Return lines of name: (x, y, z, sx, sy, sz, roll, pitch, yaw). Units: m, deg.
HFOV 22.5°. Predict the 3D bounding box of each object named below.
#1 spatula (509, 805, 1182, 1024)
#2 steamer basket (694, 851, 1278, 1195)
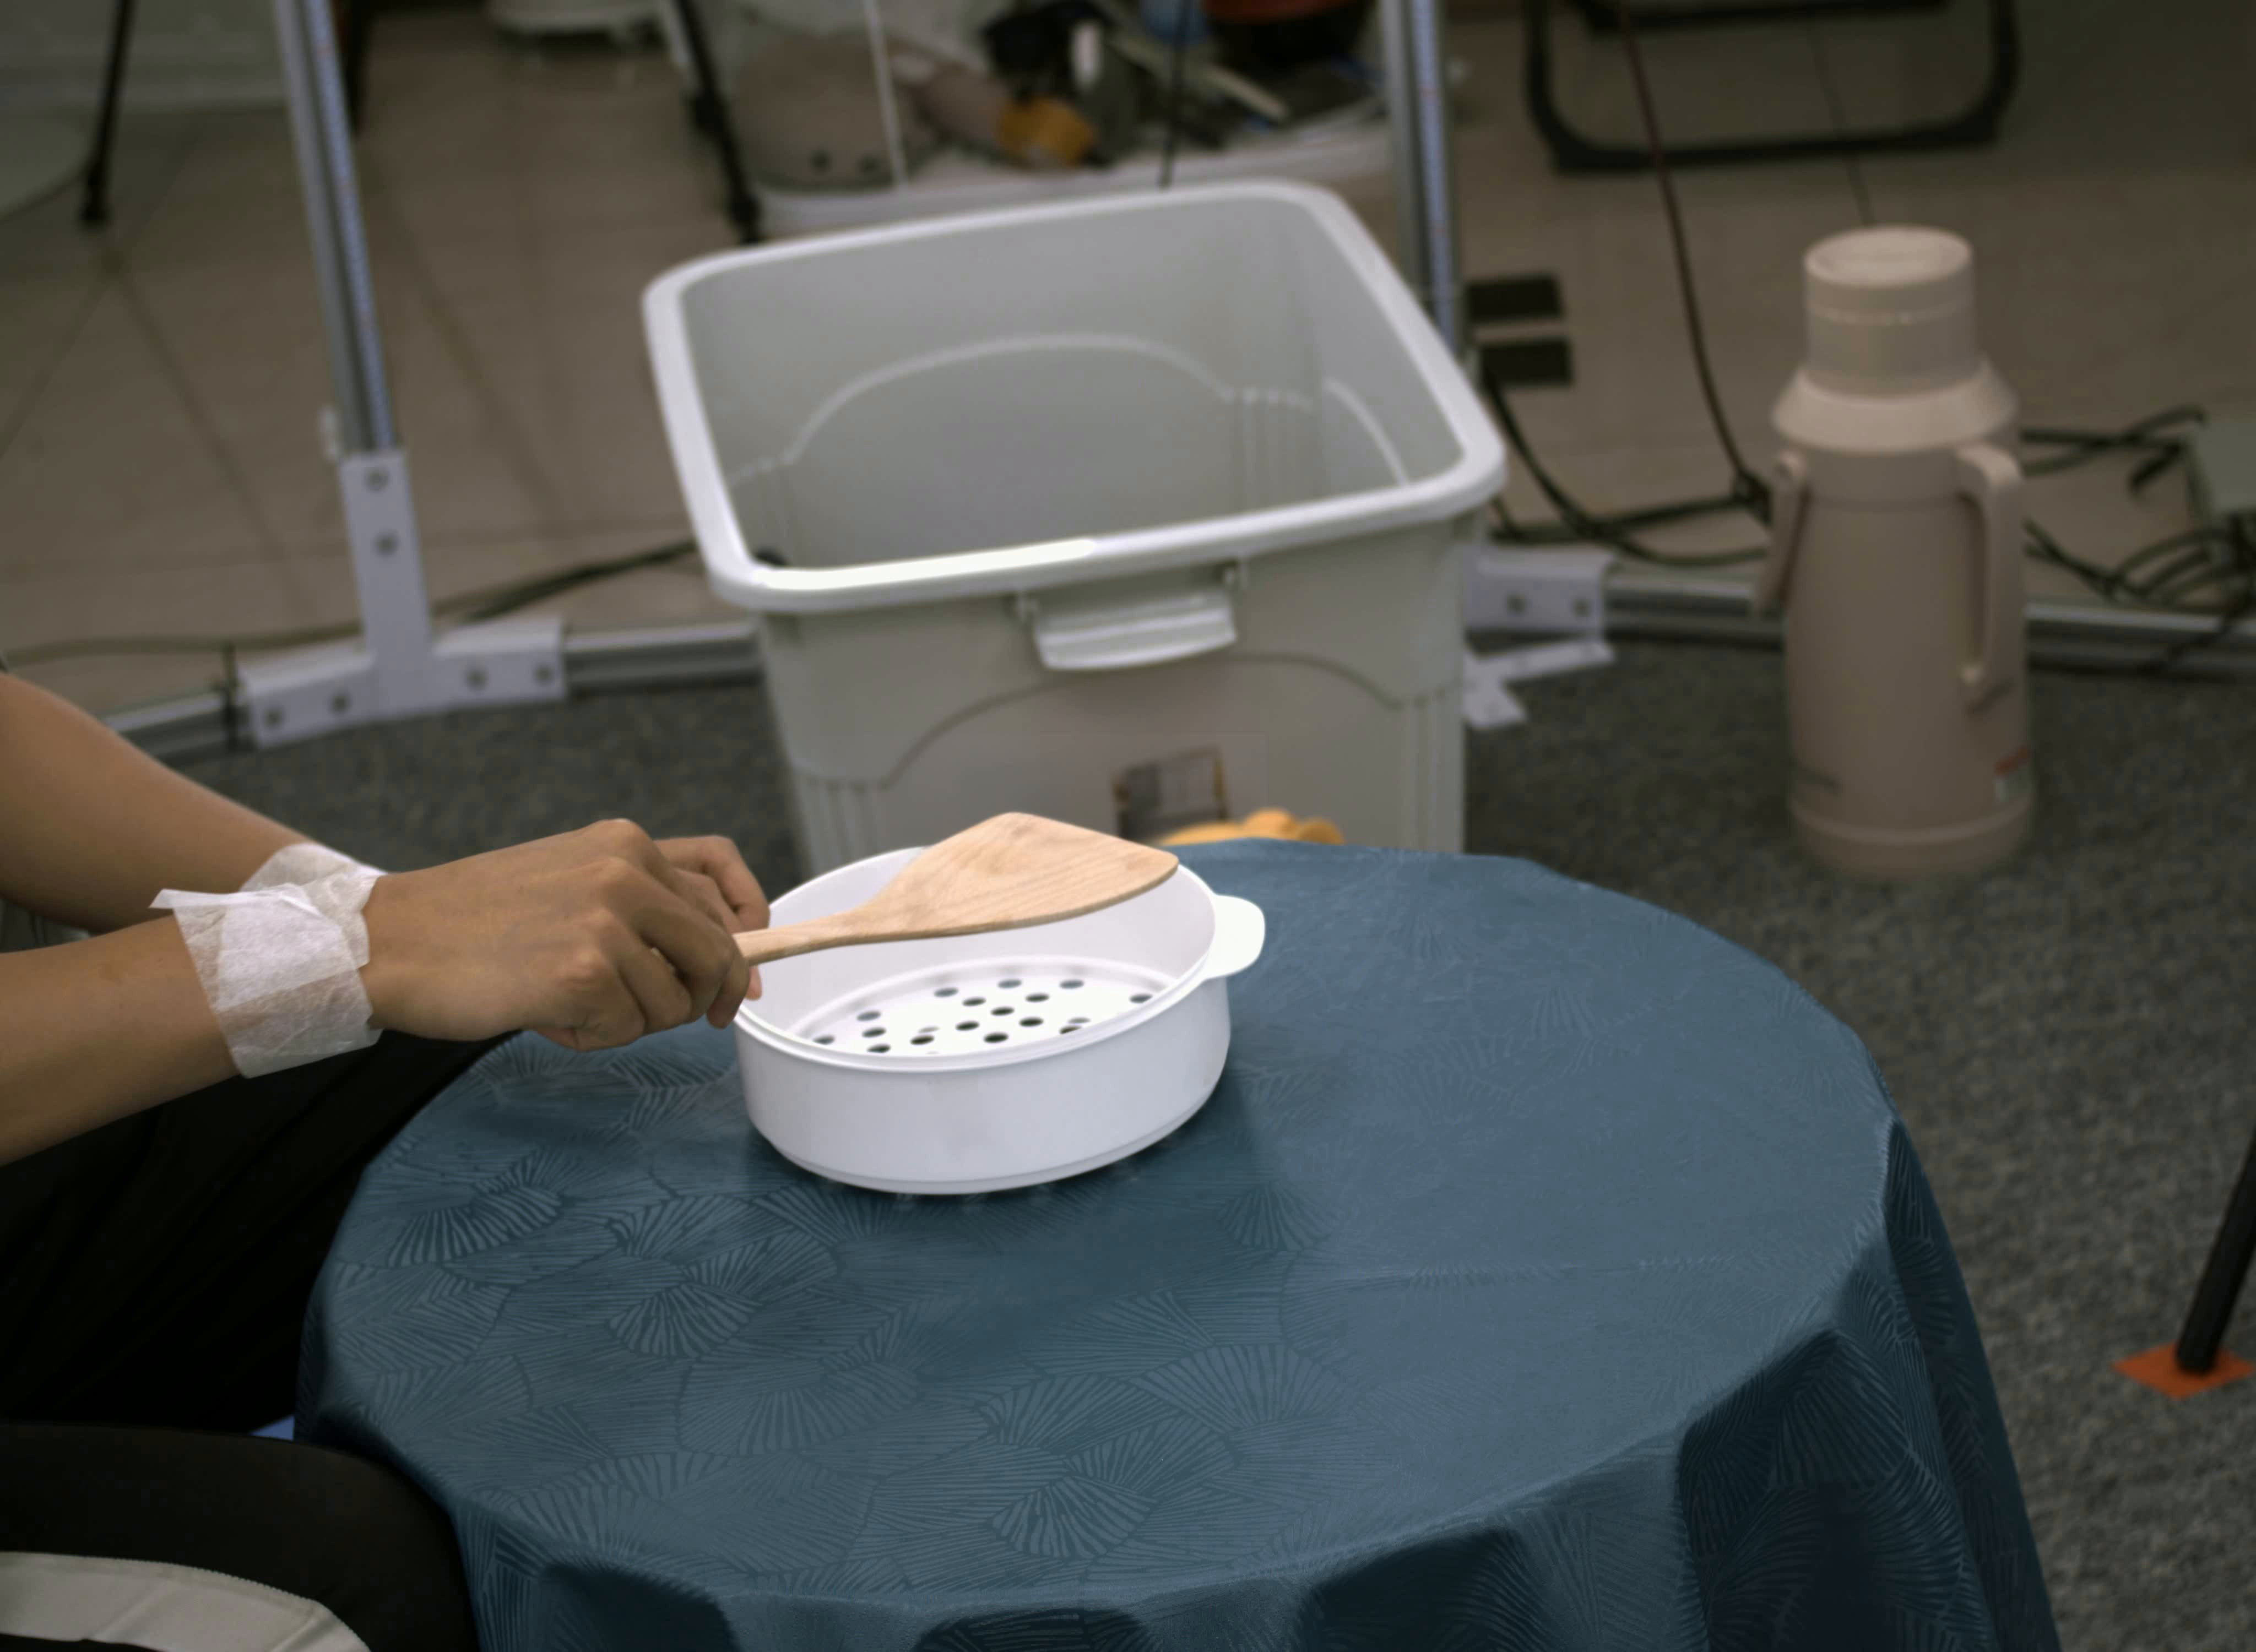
spatula: (-0.106, 0.032, 2.044, 0.079, 0.017, 0.326, 21, 22, 33)
steamer basket: (-0.052, 0.075, 2.223, 0.230, 0.070, 0.199, -4, 24, 7)
